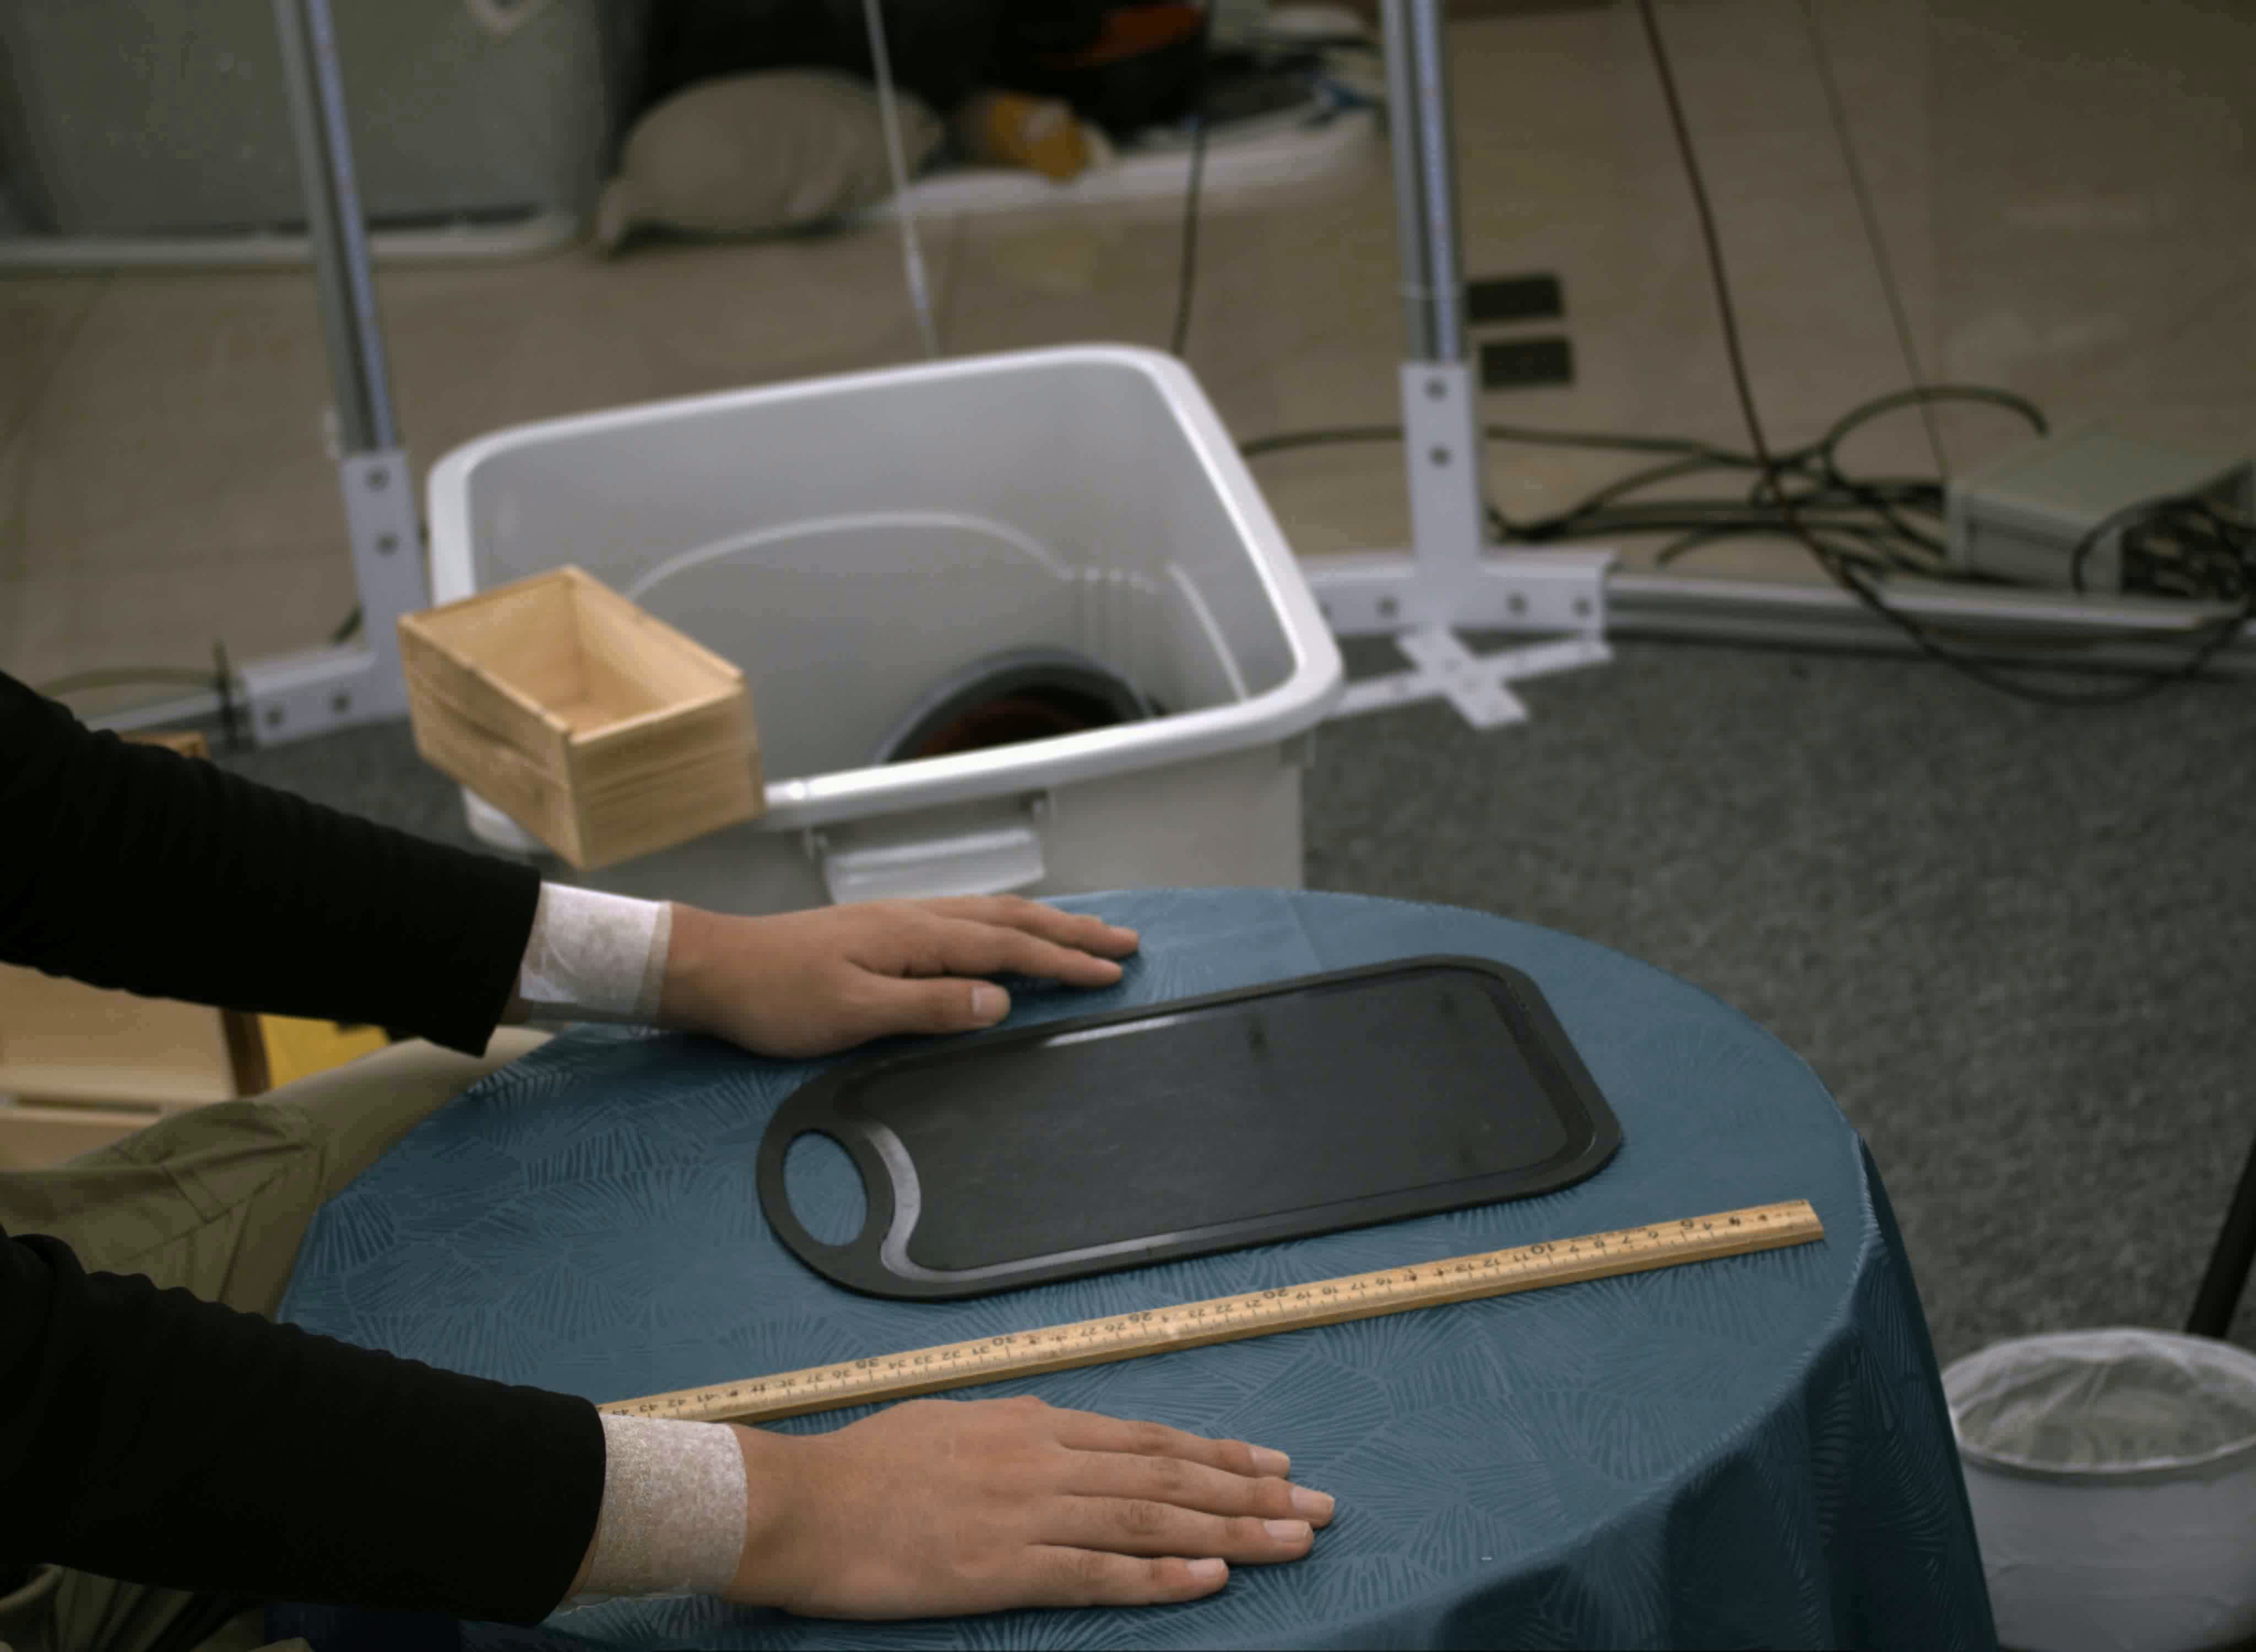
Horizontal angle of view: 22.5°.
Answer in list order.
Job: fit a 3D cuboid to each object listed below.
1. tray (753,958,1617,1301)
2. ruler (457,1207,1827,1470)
[{"bbox_3d":[0.017,0.114,2.188,0.325,0.010,0.208,-10,25,-6],"label":"tray"},{"bbox_3d":[0.006,0.183,2.047,0.499,0.006,0.026,-9,24,-5],"label":"ruler"}]
